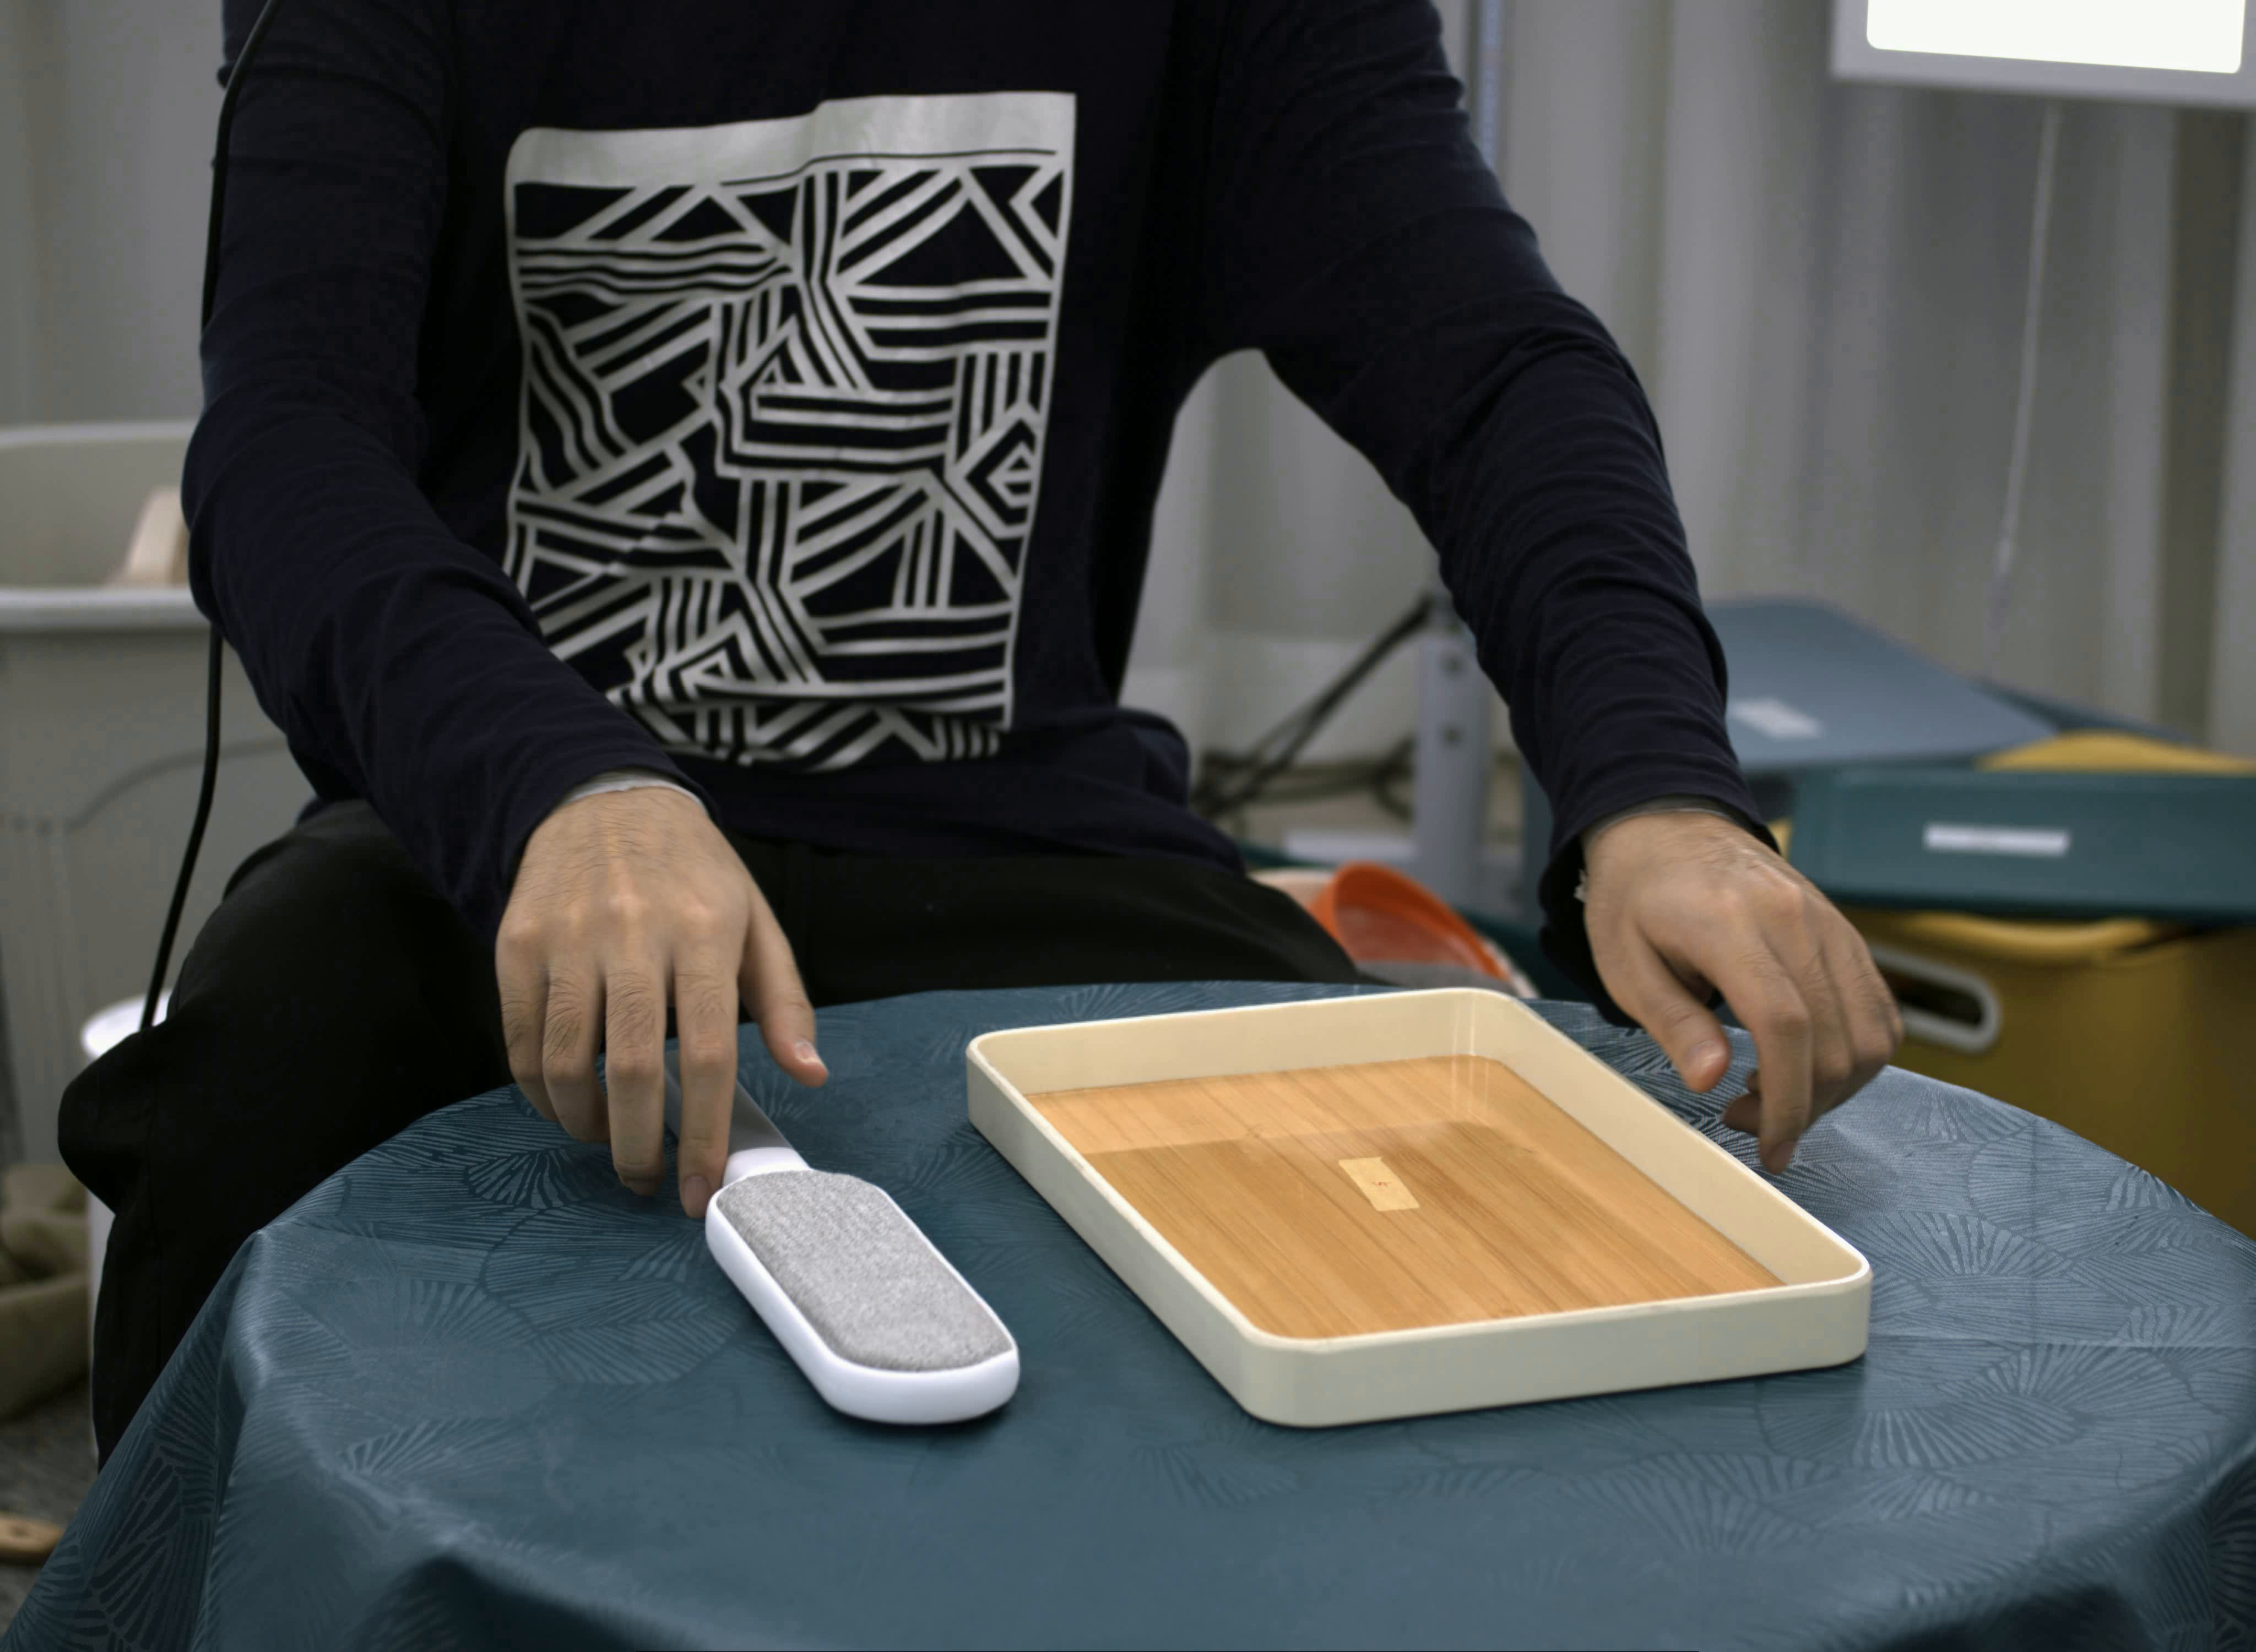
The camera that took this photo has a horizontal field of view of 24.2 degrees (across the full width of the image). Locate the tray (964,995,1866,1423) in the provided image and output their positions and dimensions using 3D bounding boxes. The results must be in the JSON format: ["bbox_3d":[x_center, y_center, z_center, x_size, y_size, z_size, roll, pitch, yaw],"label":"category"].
[{"bbox_3d":[0.078,0.110,1.589,0.192,0.027,0.297,-4,15,-18],"label":"tray"}]

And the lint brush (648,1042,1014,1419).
[{"bbox_3d":[-0.097,0.115,1.561,0.060,0.021,0.305,-10,18,-16],"label":"lint brush"}]
